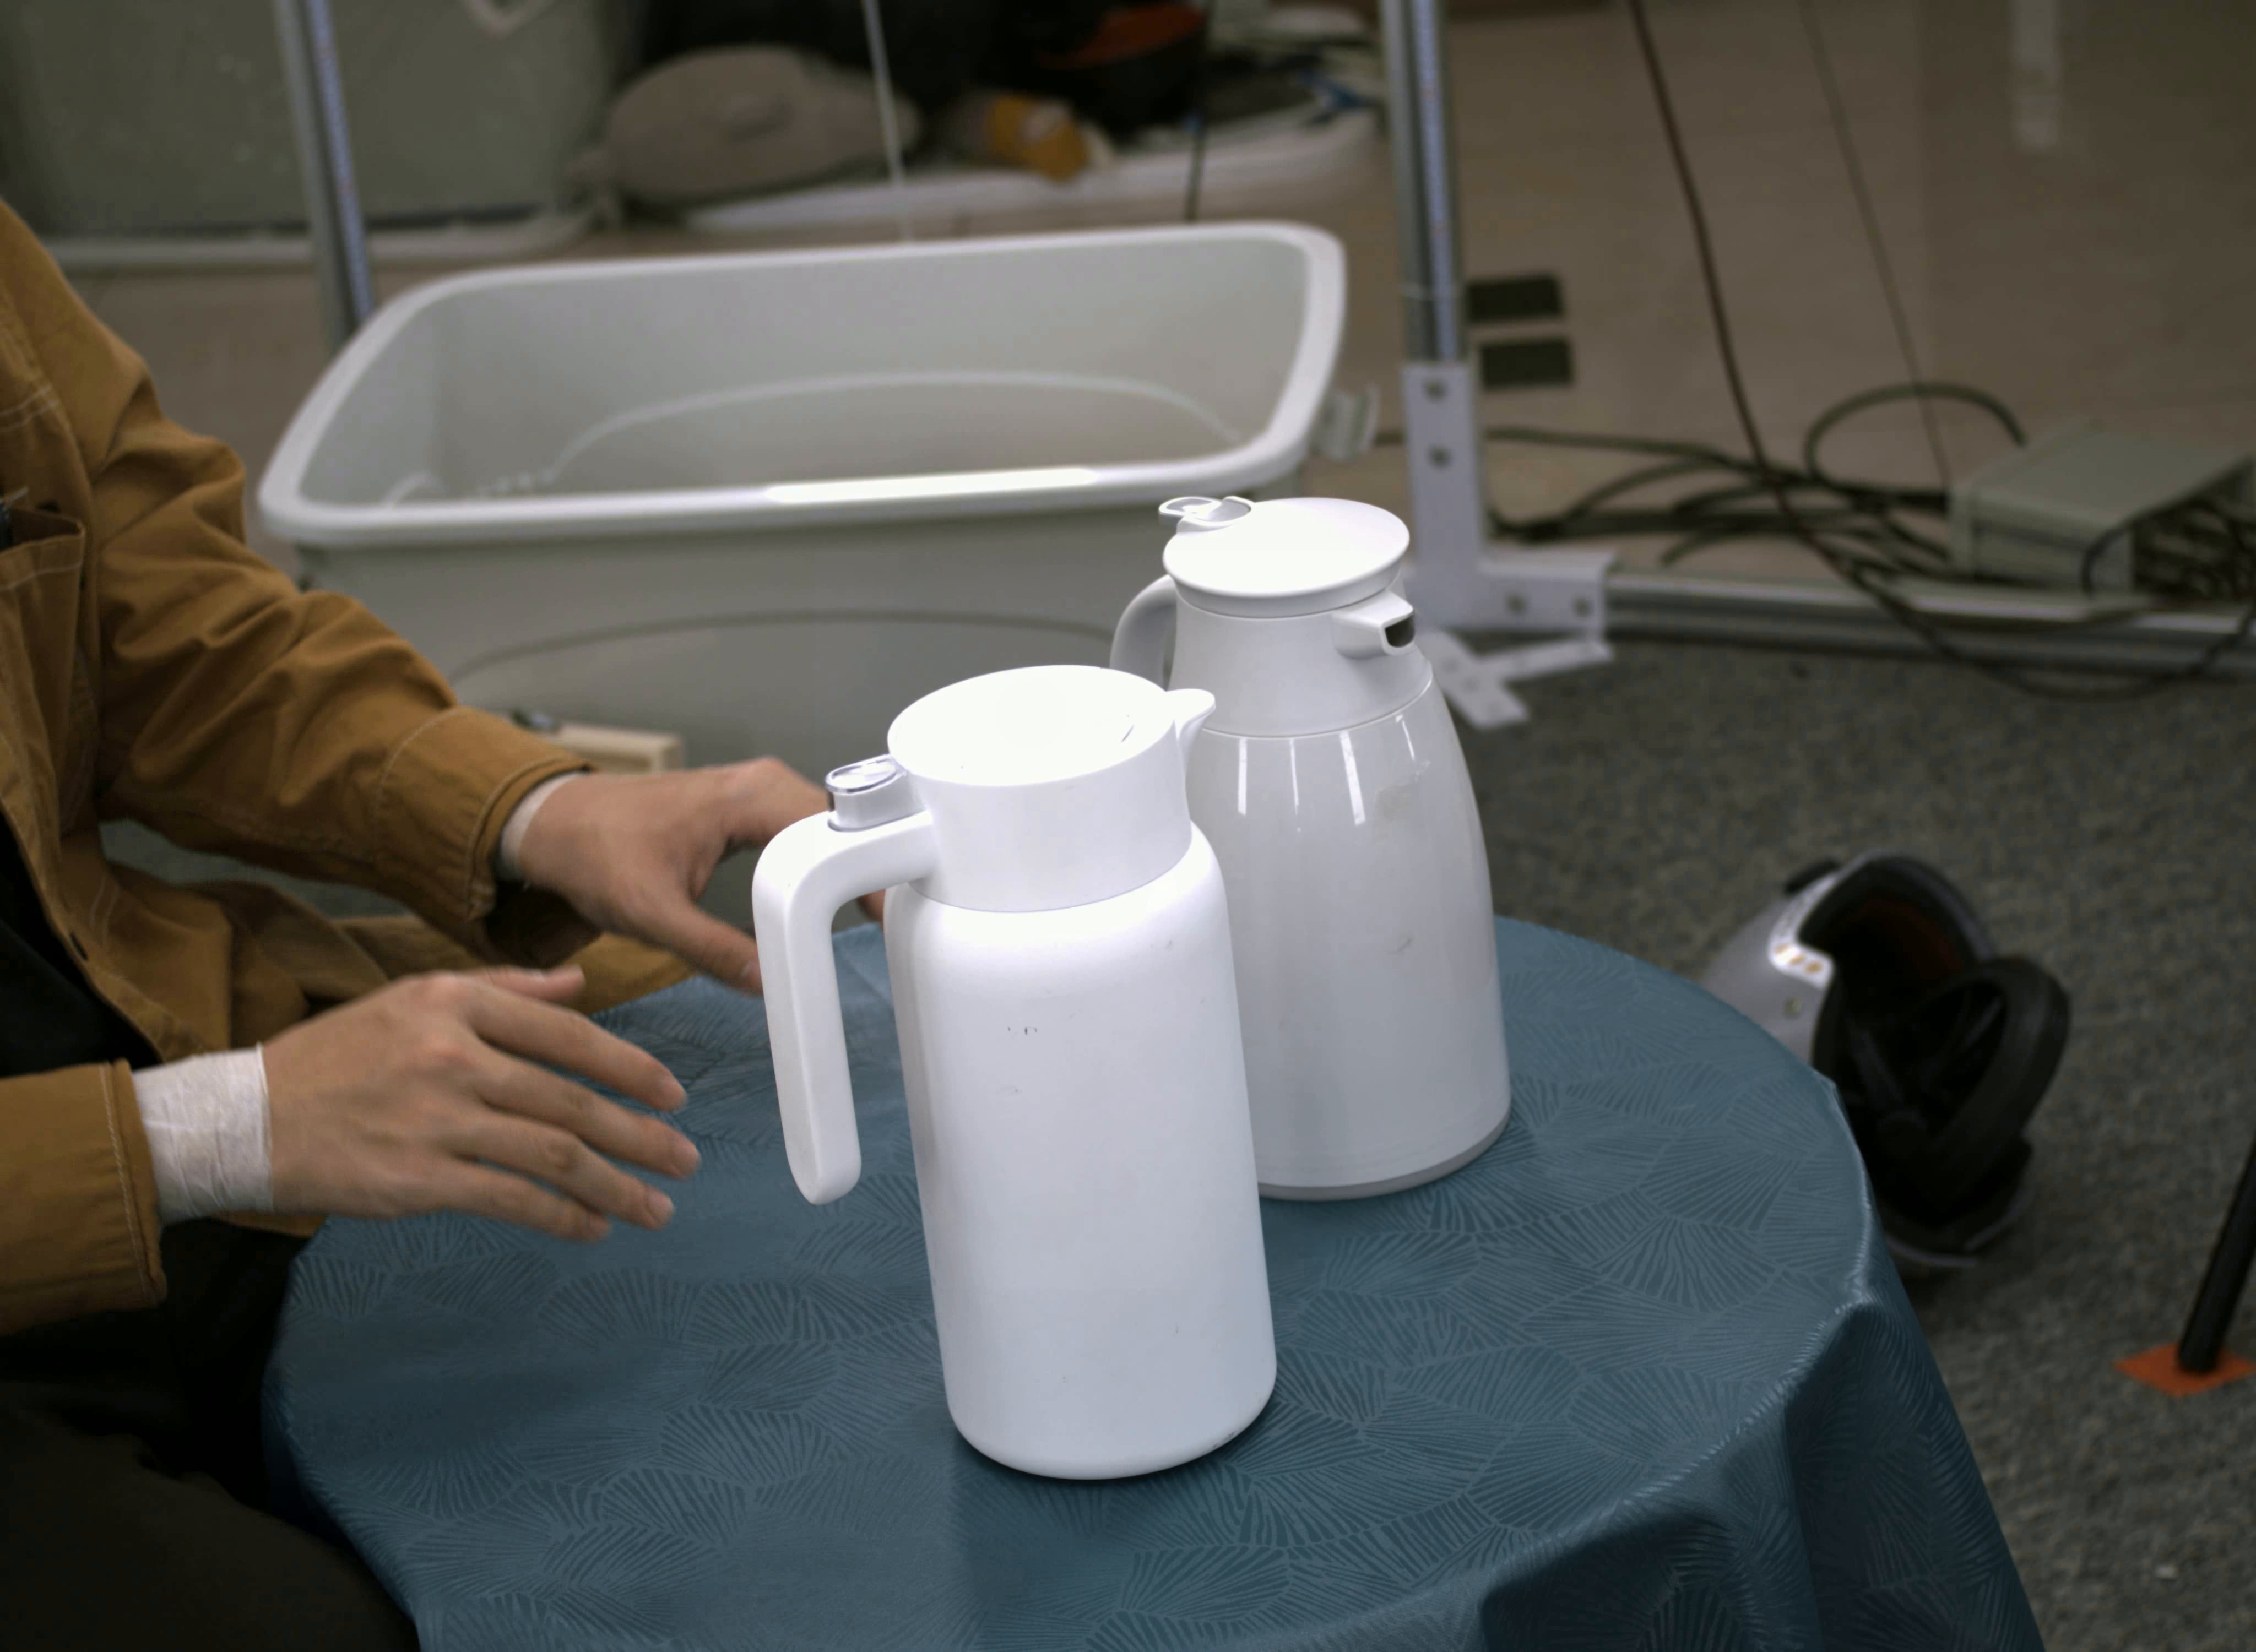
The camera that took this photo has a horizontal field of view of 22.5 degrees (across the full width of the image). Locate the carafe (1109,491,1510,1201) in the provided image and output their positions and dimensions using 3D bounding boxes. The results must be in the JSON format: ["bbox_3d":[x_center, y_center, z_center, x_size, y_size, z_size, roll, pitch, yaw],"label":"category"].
[{"bbox_3d":[0.056,-0.003,2.142,0.131,0.252,0.166,-26,31,-34],"label":"carafe"}]

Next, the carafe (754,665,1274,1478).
[{"bbox_3d":[-0.034,0.090,1.943,0.172,0.273,0.122,-18,30,-22],"label":"carafe"}]
